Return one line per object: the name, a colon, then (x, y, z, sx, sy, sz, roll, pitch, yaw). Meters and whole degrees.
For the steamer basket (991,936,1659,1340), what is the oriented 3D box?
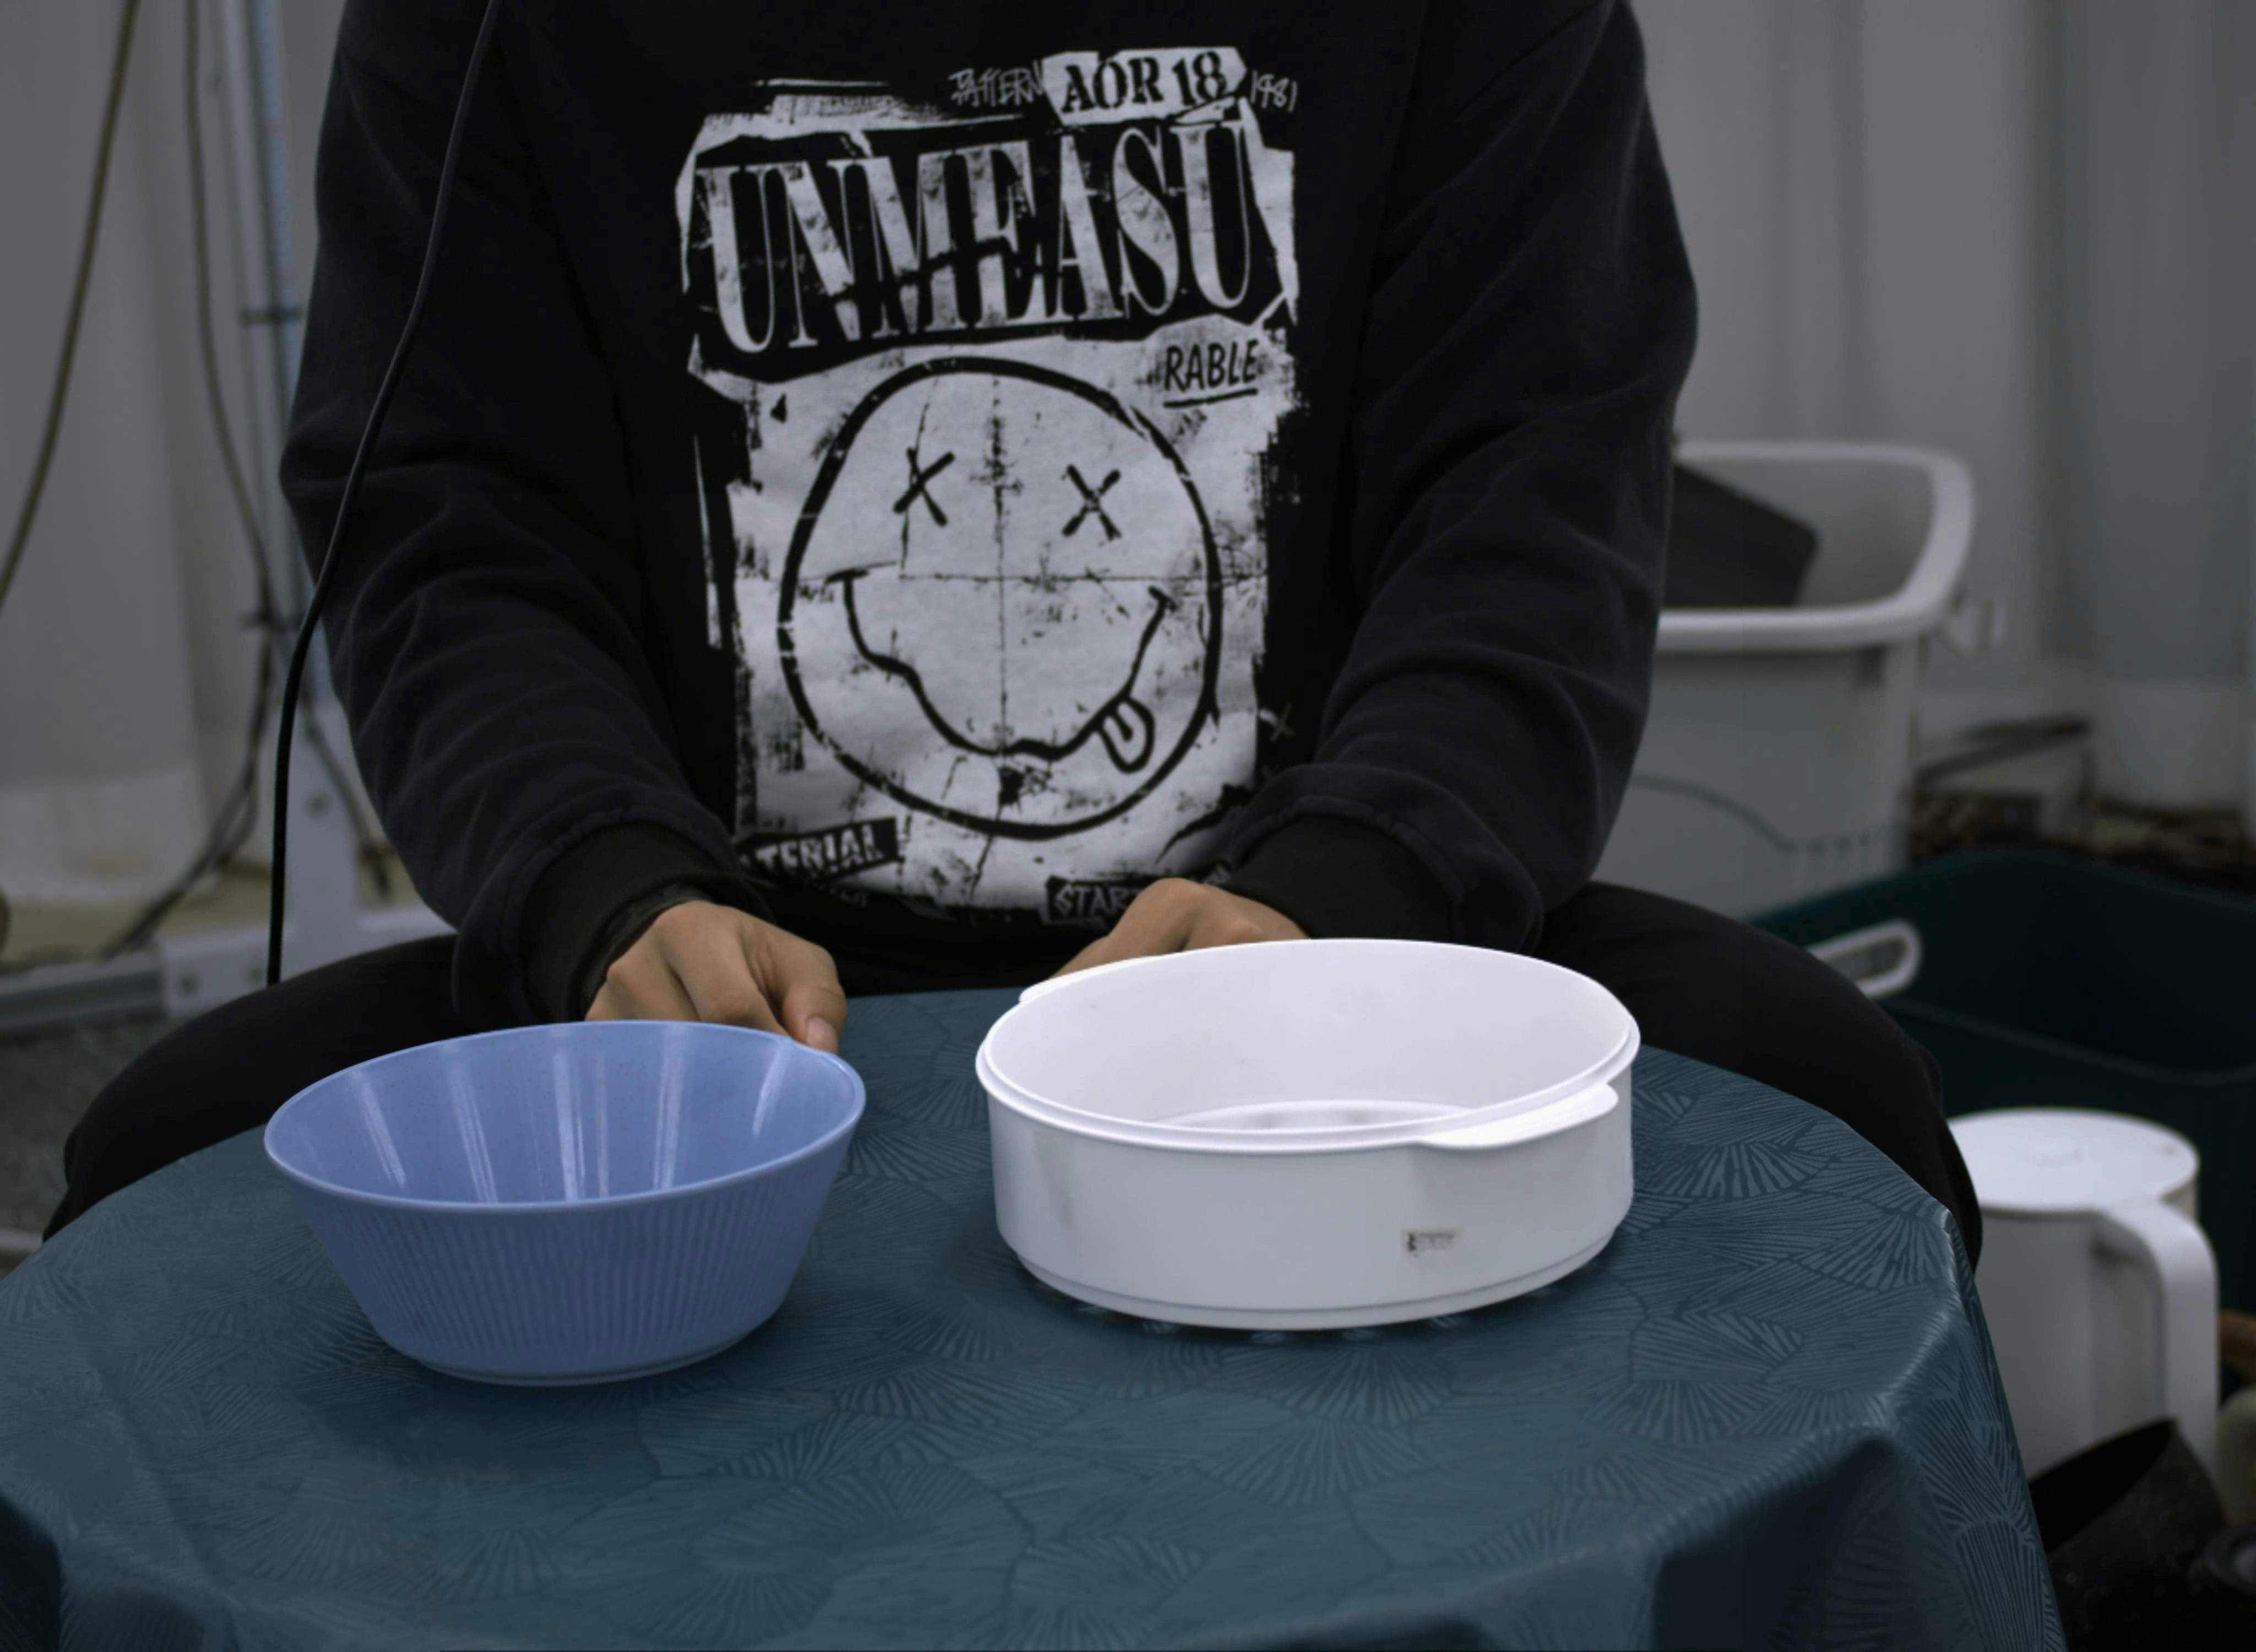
steamer basket: (0.059, 0.094, 1.650, 0.201, 0.069, 0.232, -14, 20, -35)

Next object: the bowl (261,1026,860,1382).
bowl: (-0.165, 0.114, 1.612, 0.175, 0.070, 0.177, -2, 14, 0)
